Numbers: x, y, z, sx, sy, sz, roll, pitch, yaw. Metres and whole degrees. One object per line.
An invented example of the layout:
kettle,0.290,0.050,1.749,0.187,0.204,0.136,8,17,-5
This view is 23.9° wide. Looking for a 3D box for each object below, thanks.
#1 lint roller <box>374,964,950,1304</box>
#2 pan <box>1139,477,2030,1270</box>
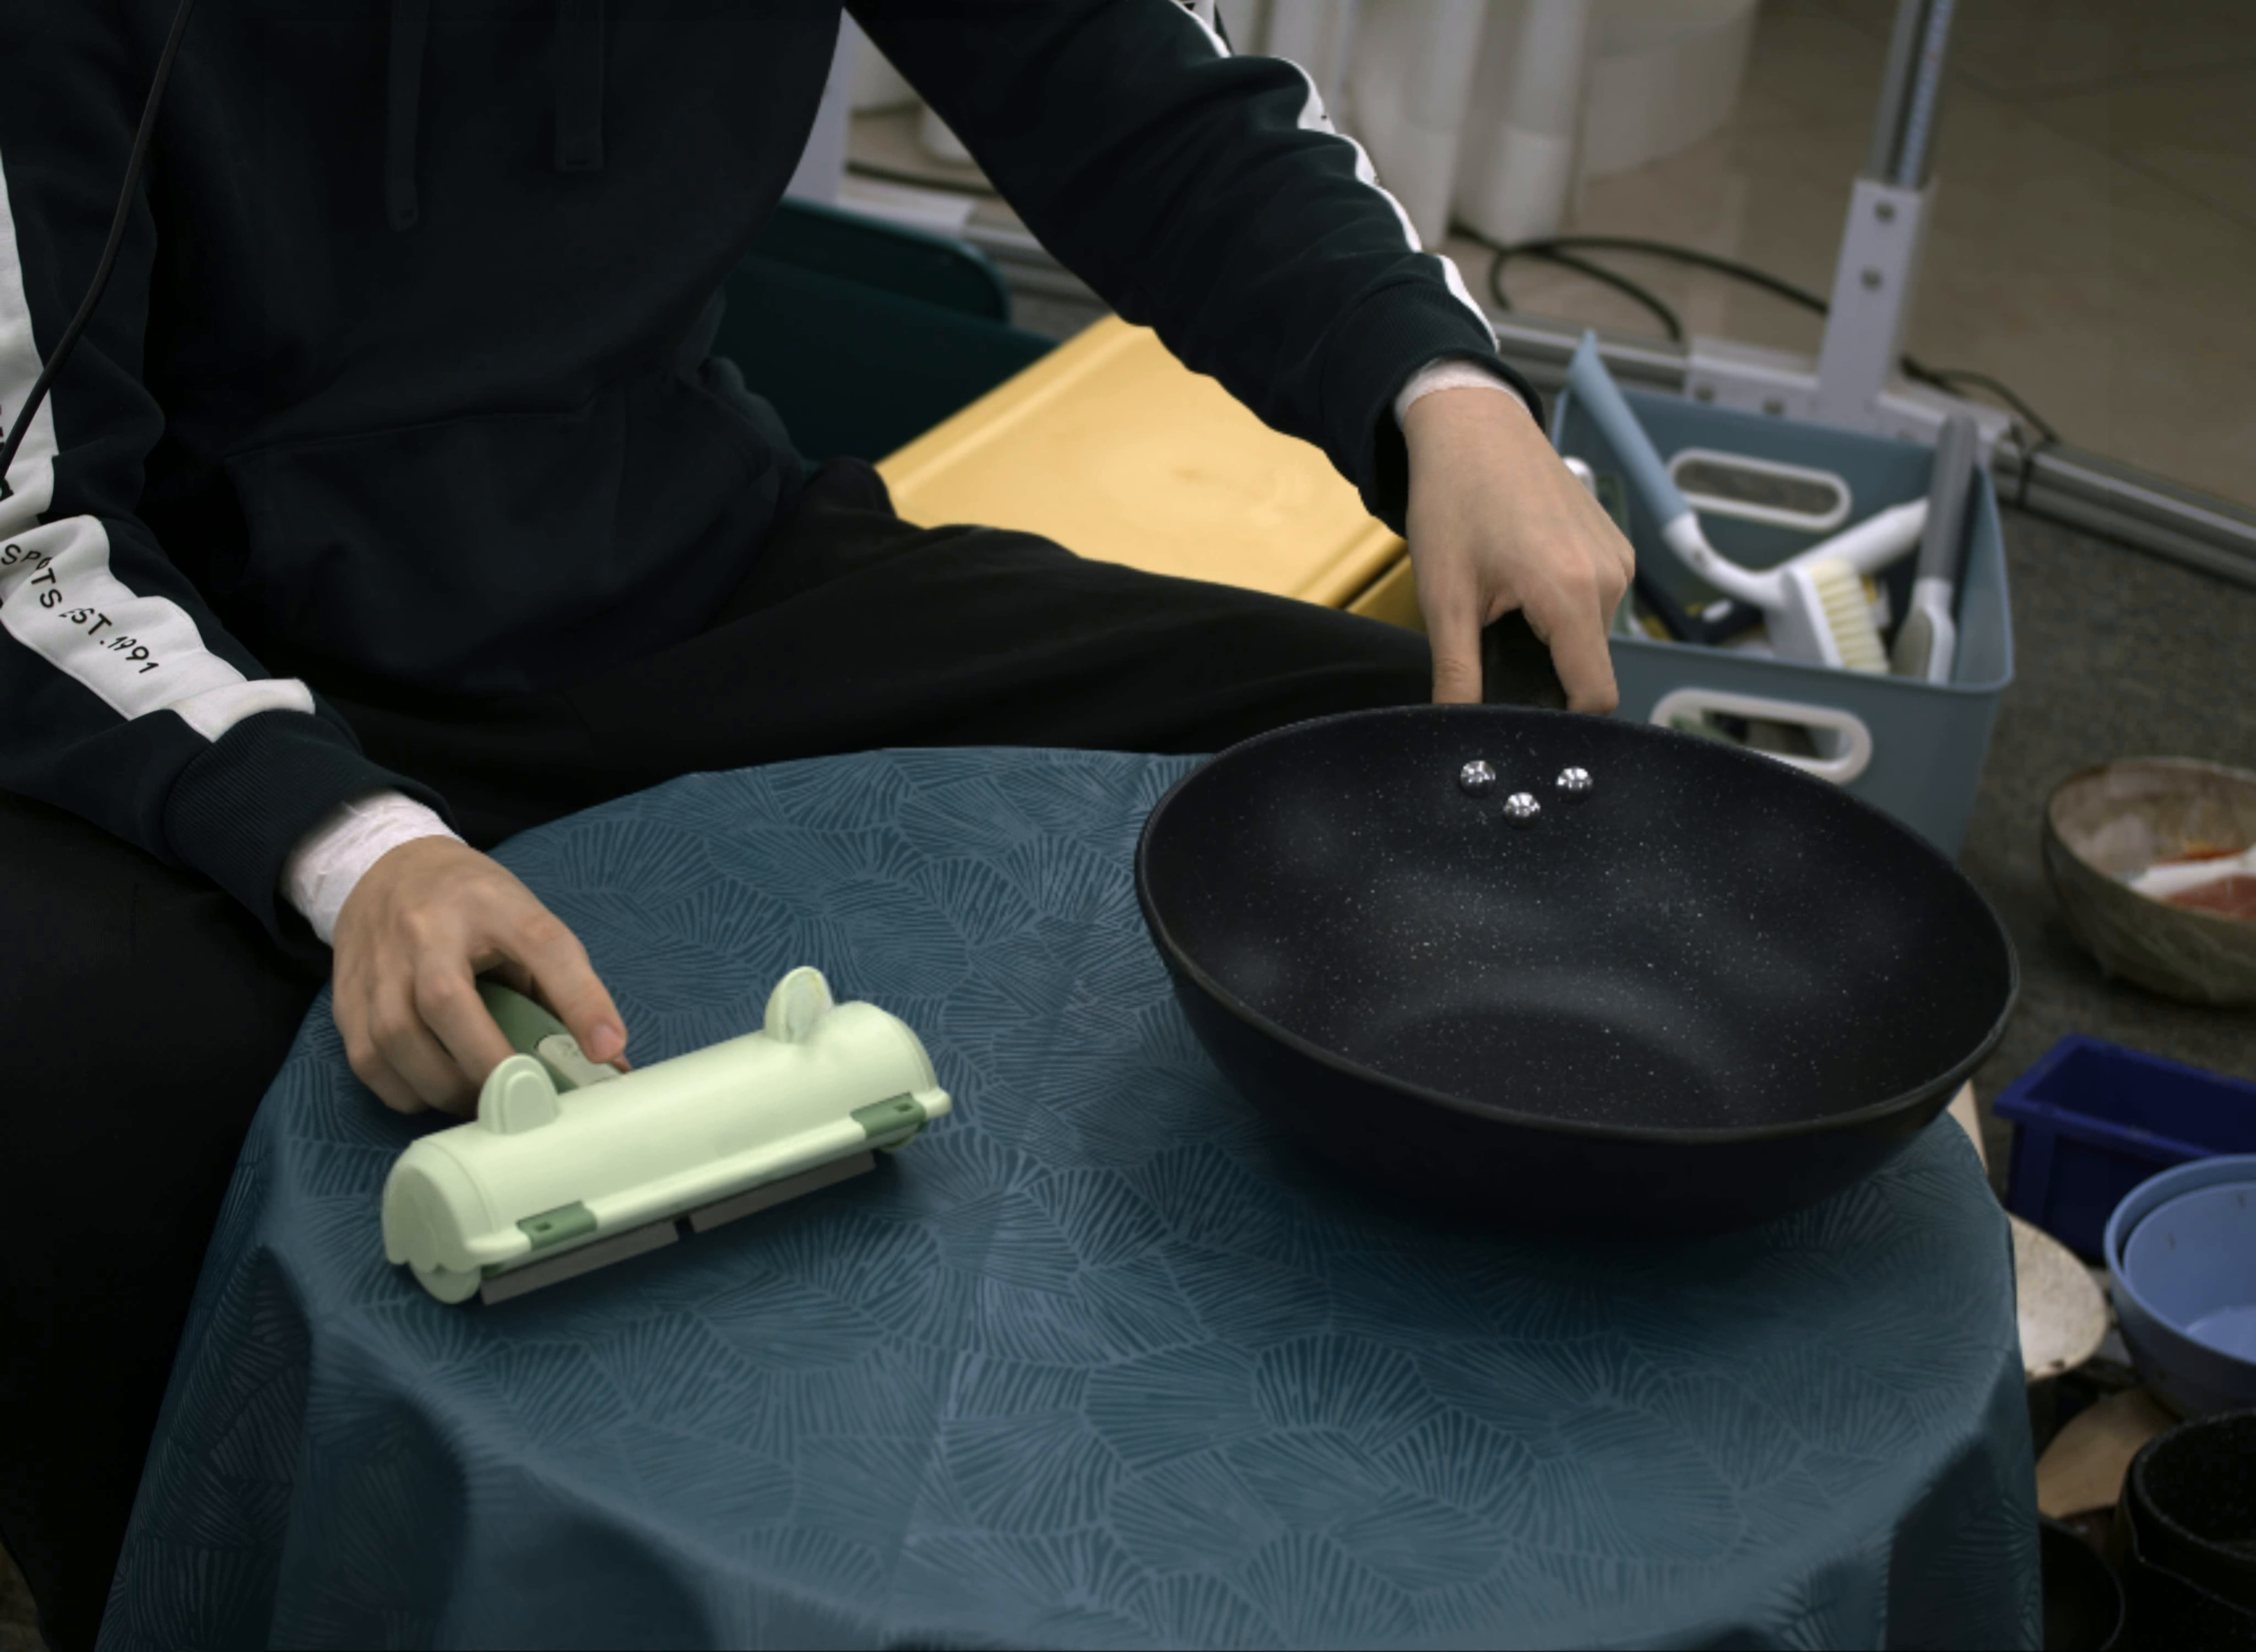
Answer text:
lint roller,-0.186,0.073,1.772,0.197,0.082,0.185,-17,40,-37
pan,0.150,0.020,1.919,0.309,0.111,0.480,5,27,-6
